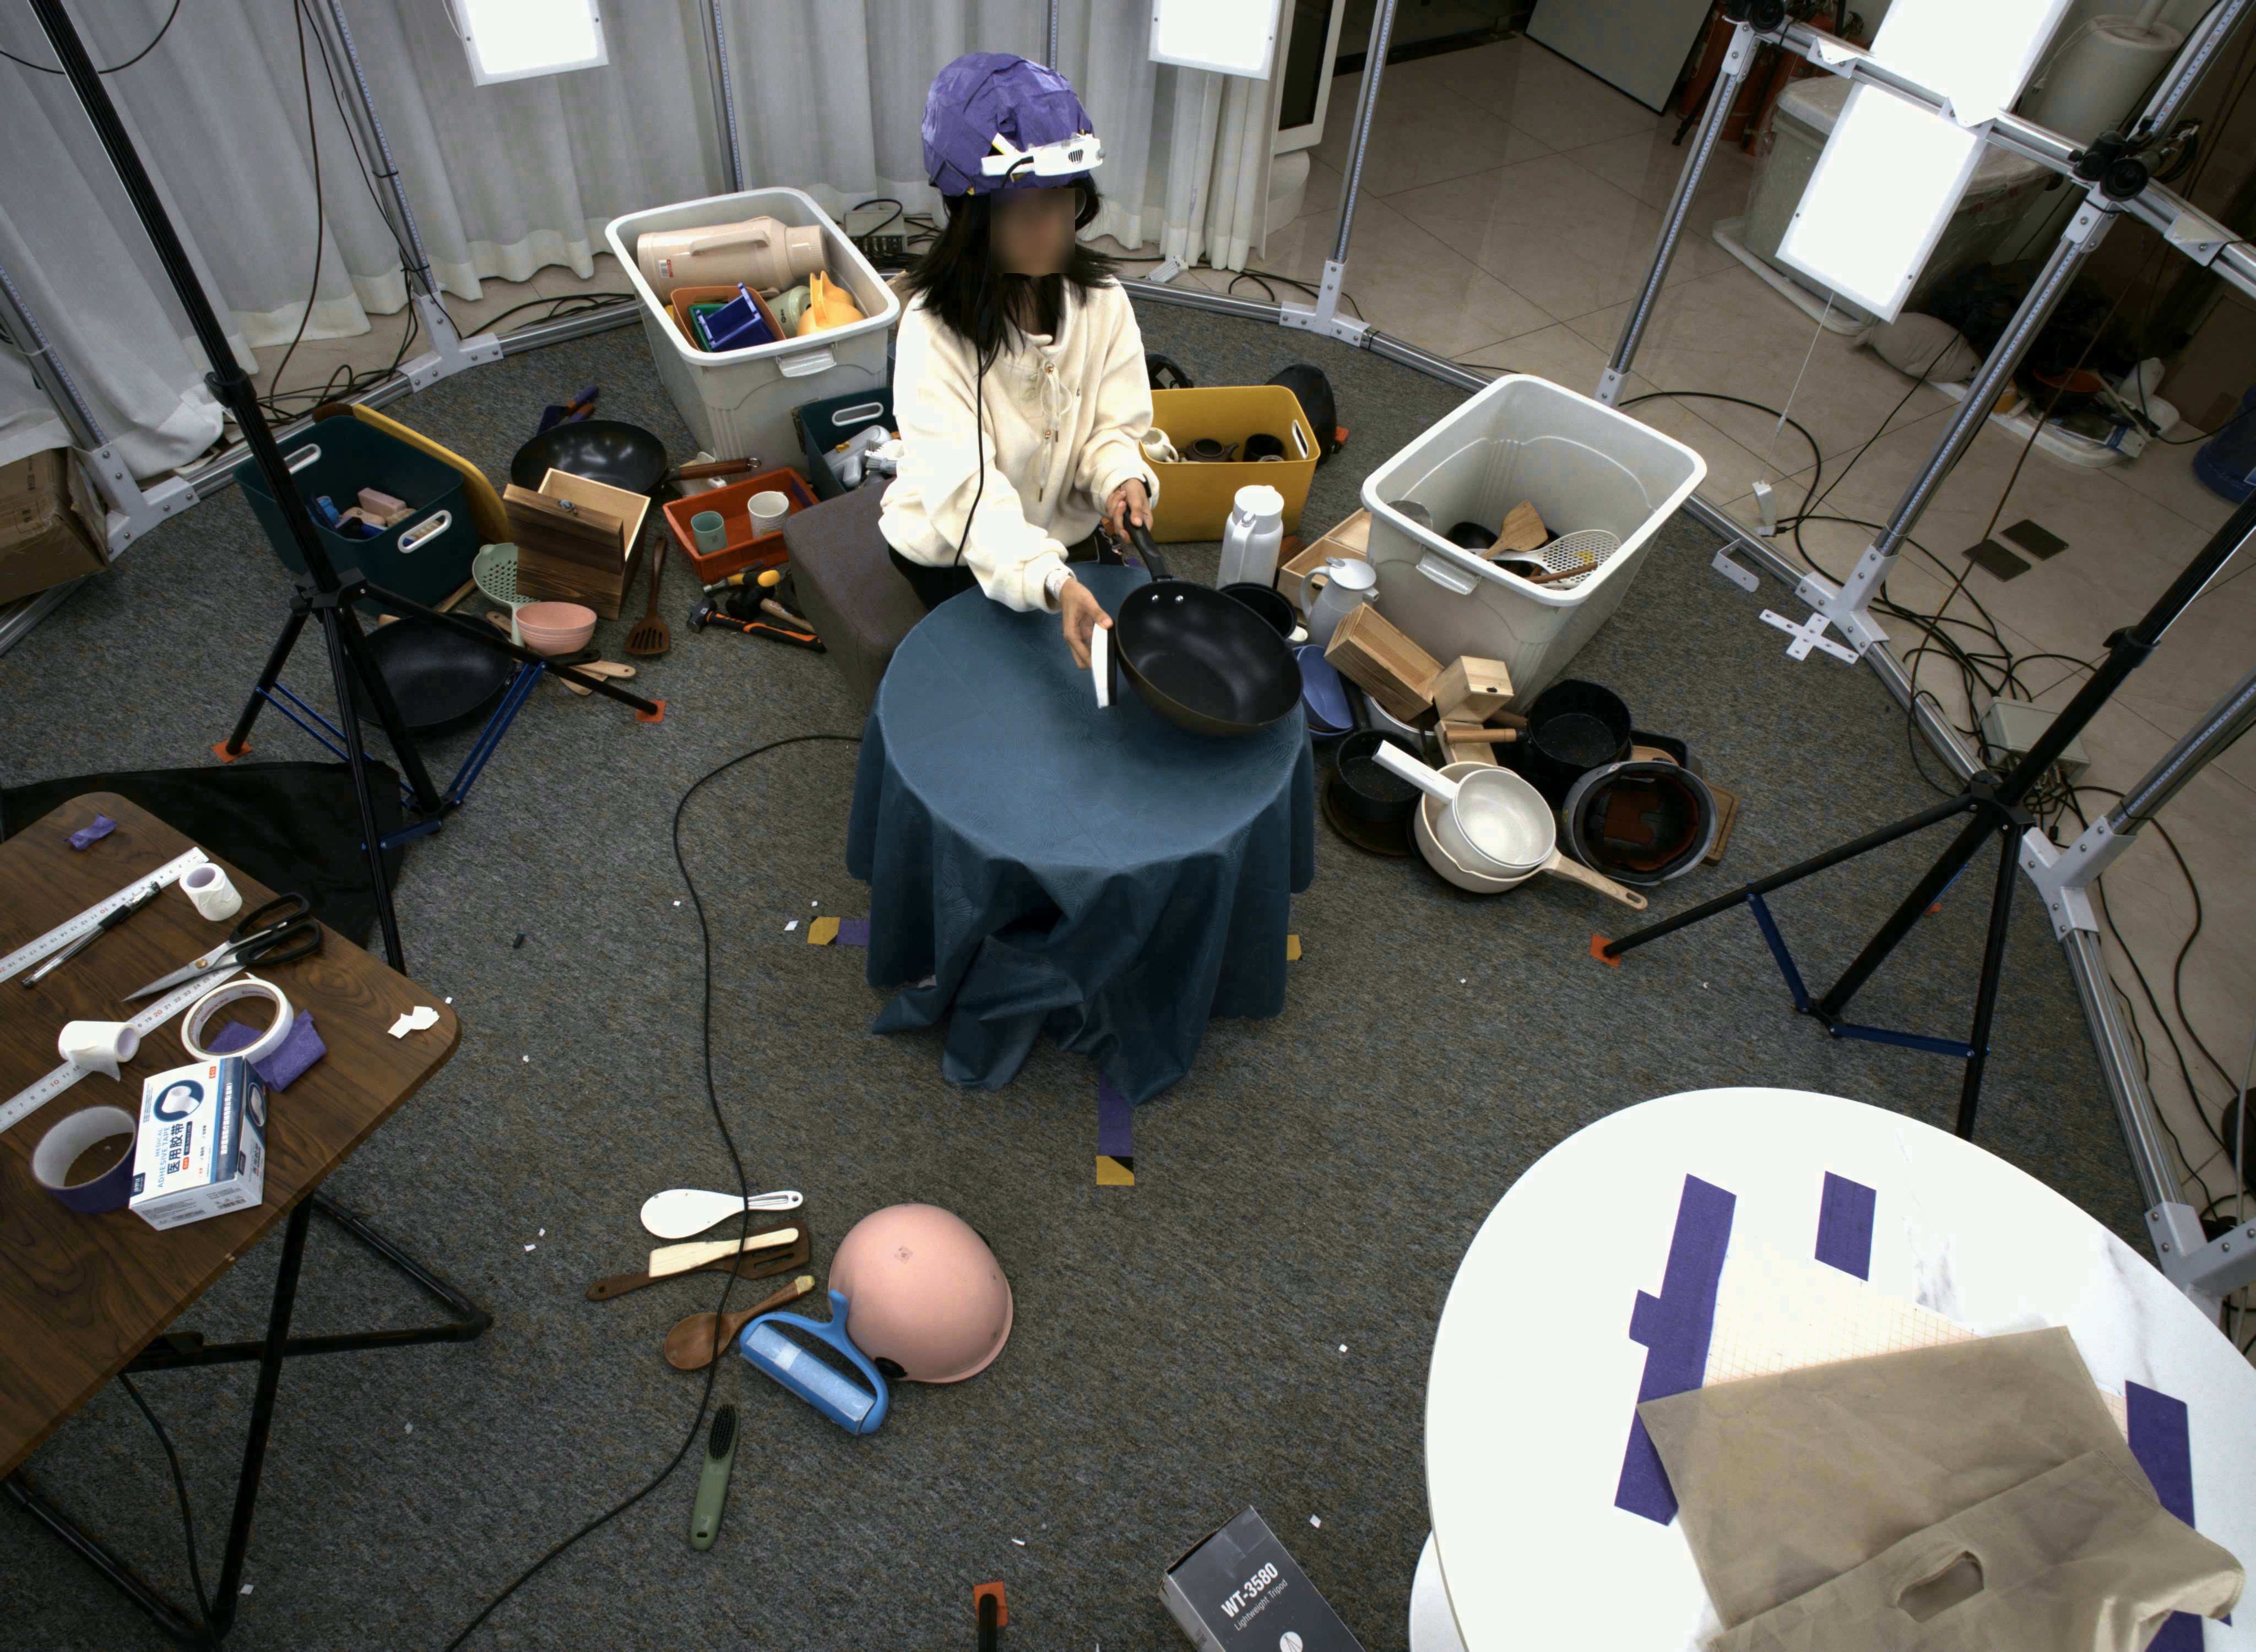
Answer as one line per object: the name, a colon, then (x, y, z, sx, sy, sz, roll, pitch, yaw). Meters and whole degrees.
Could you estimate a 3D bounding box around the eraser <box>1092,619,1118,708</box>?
eraser: (-0.030, -0.220, 1.723, 0.034, 0.062, 0.134, -1, 48, 0)

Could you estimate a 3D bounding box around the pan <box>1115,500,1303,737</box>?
pan: (0.065, -0.288, 1.834, 0.287, 0.085, 0.474, -4, 51, -31)
